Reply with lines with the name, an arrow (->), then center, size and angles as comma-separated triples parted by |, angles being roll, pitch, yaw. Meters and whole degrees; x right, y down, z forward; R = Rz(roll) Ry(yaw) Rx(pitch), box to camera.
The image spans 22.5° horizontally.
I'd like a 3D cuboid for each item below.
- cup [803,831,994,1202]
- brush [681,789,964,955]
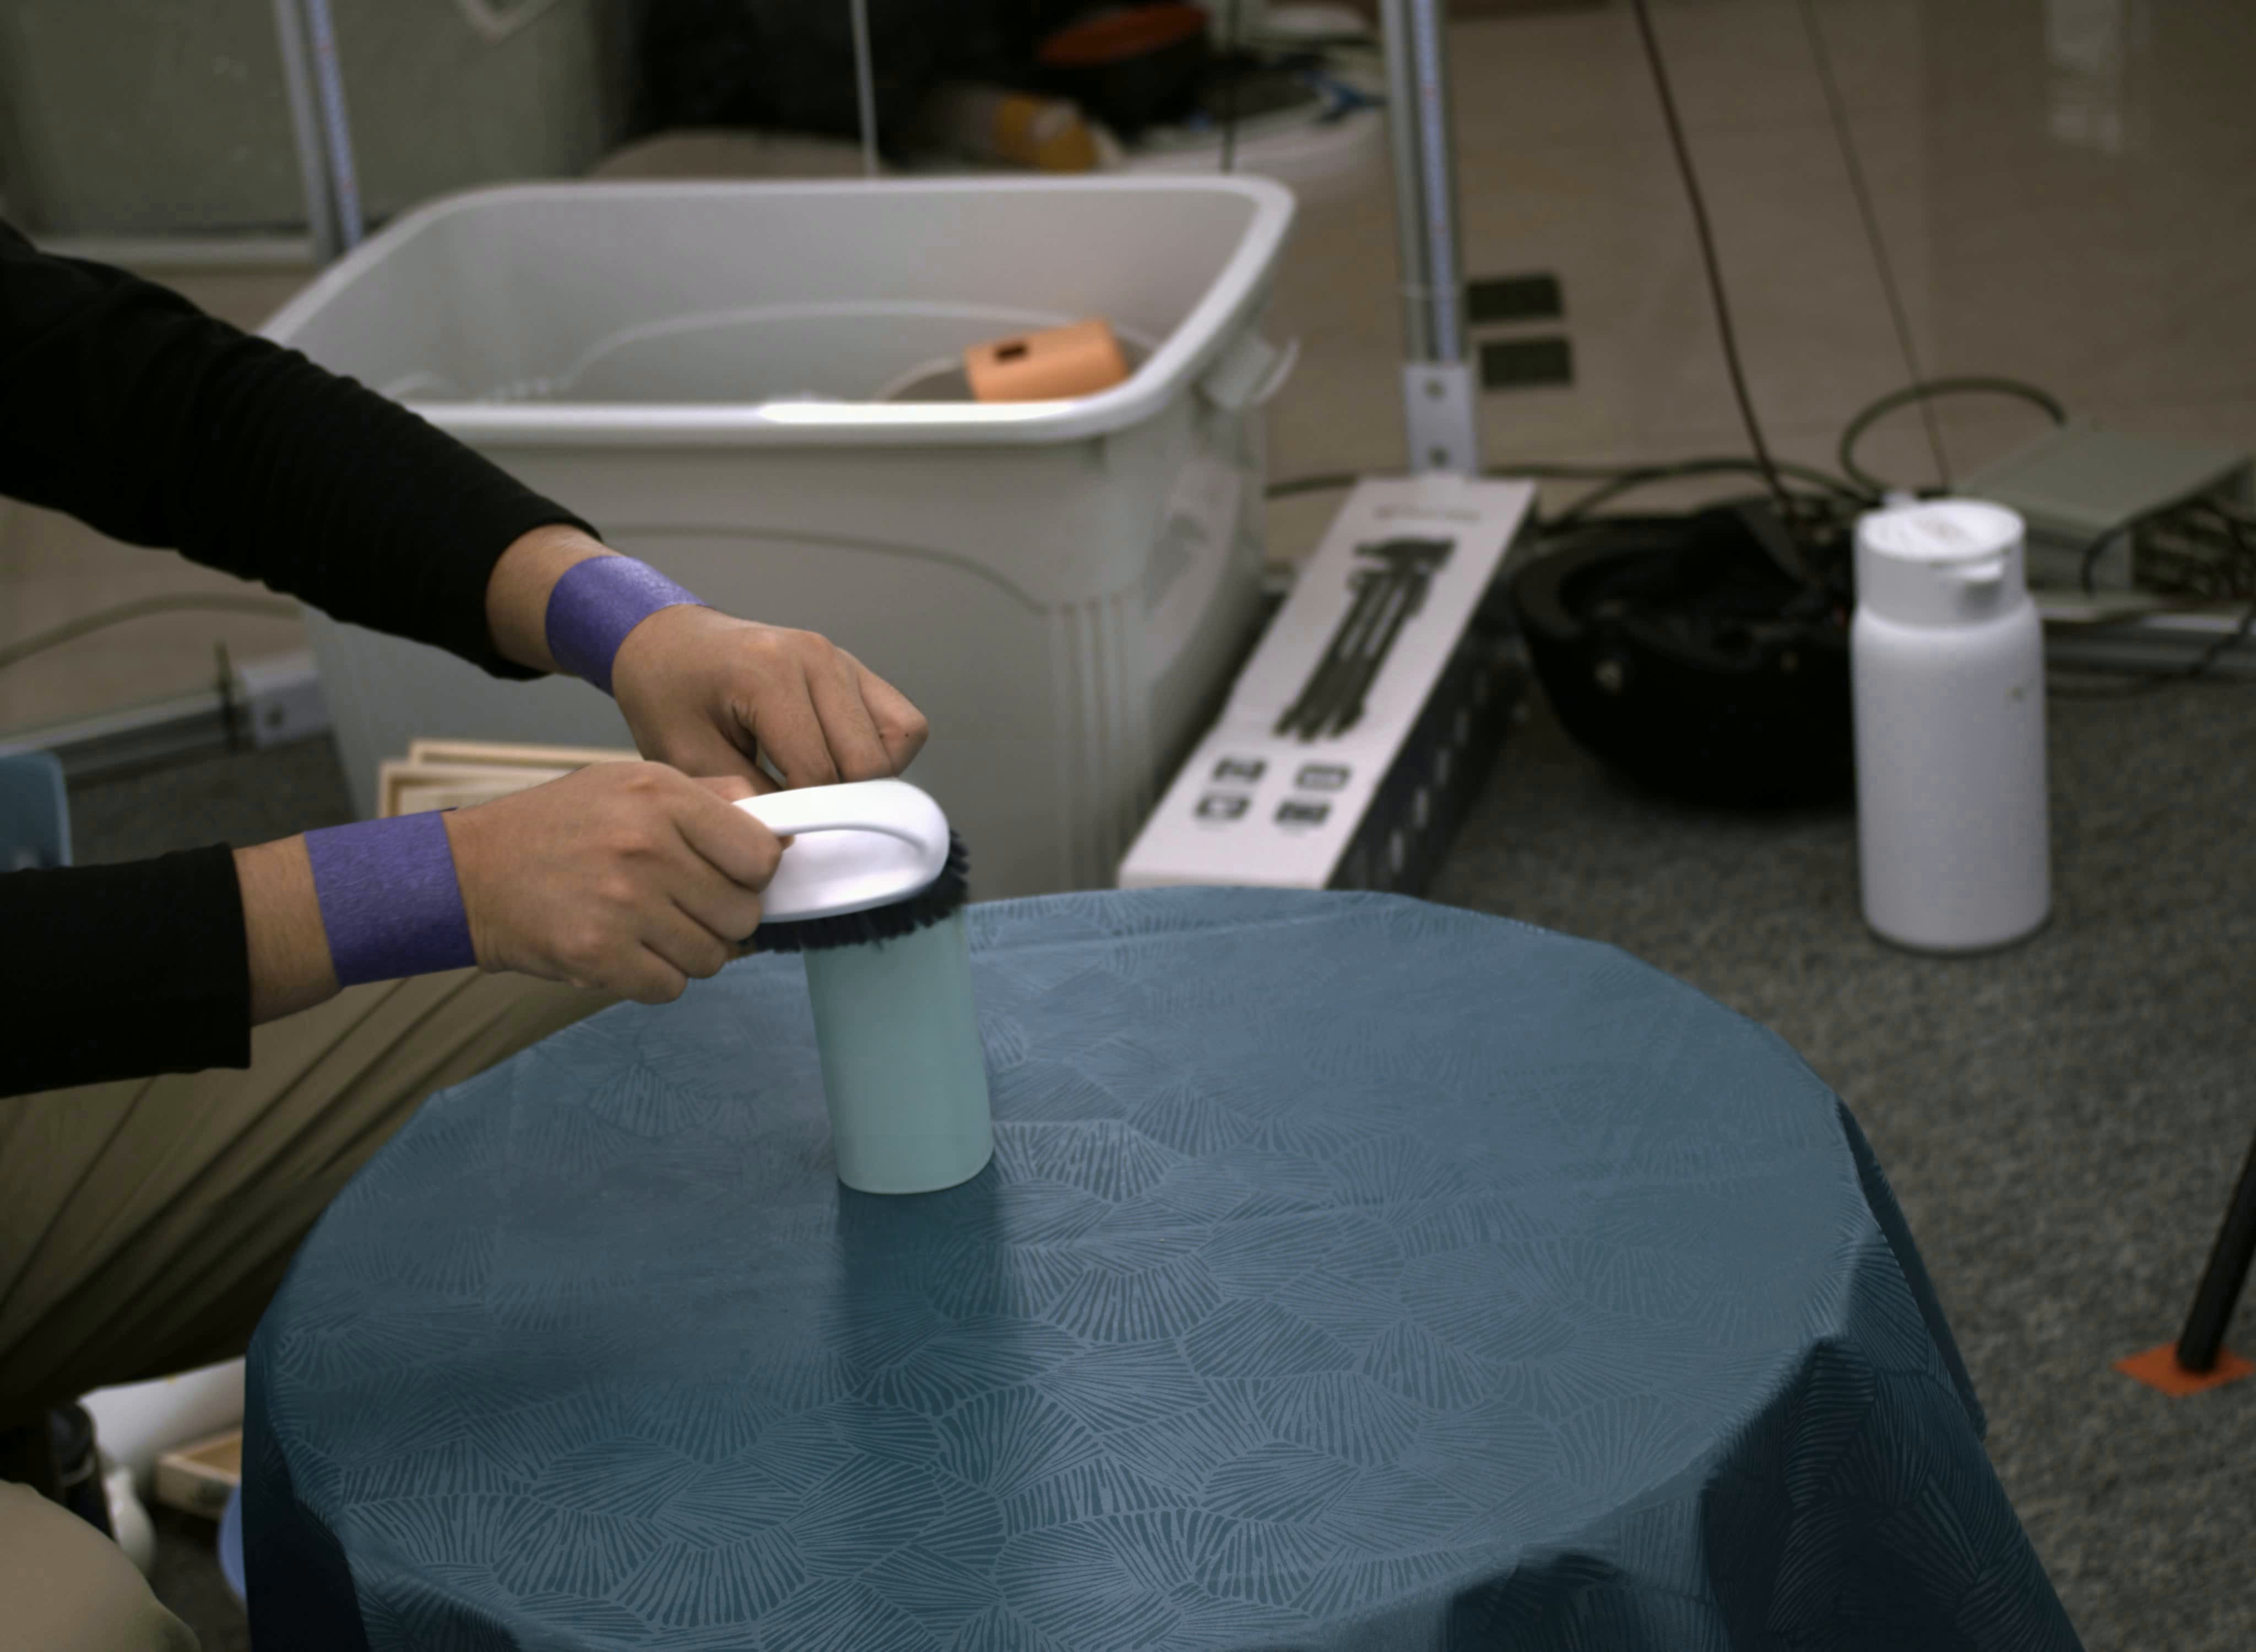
cup -> -0.089, 0.072, 2.163 | 0.066, 0.134, 0.066 | -5, 27, 3
brush -> -0.117, 0.010, 2.074 | 0.099, 0.073, 0.049 | -6, 66, 14
